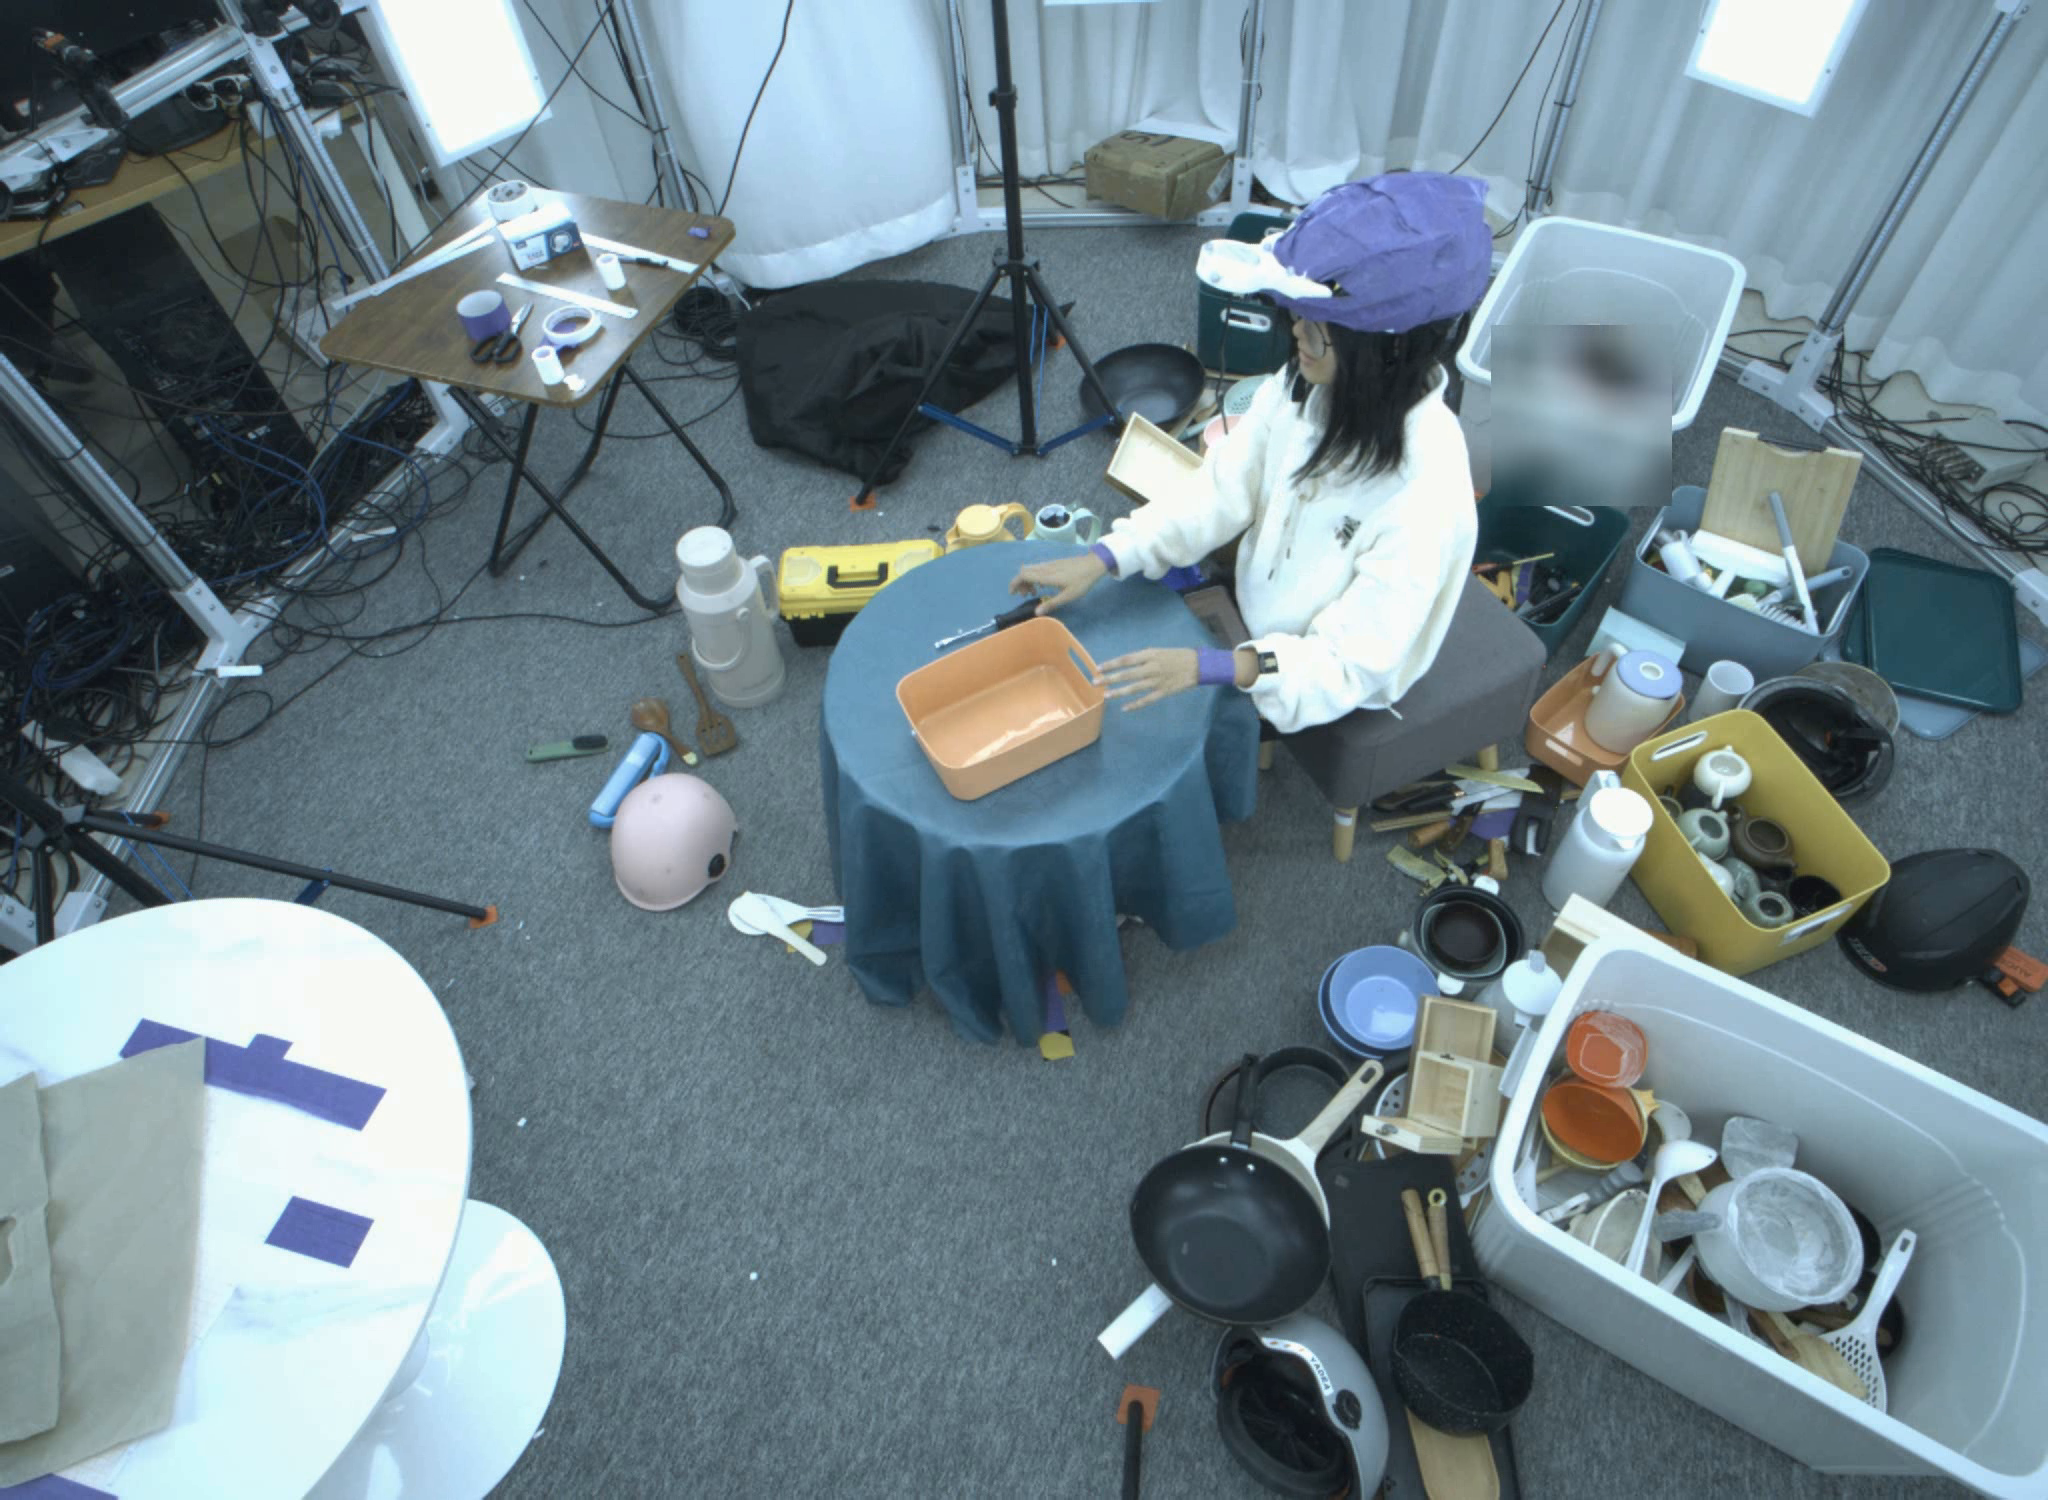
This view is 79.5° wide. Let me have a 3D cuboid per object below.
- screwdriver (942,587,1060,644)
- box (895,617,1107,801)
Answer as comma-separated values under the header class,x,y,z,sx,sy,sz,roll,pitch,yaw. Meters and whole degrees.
class,x,y,z,sx,sy,sz,roll,pitch,yaw
screwdriver,-0.035,-0.203,1.904,0.198,0.032,0.031,-27,58,-6
box,-0.028,-0.055,1.764,0.275,0.104,0.195,-26,57,-15
